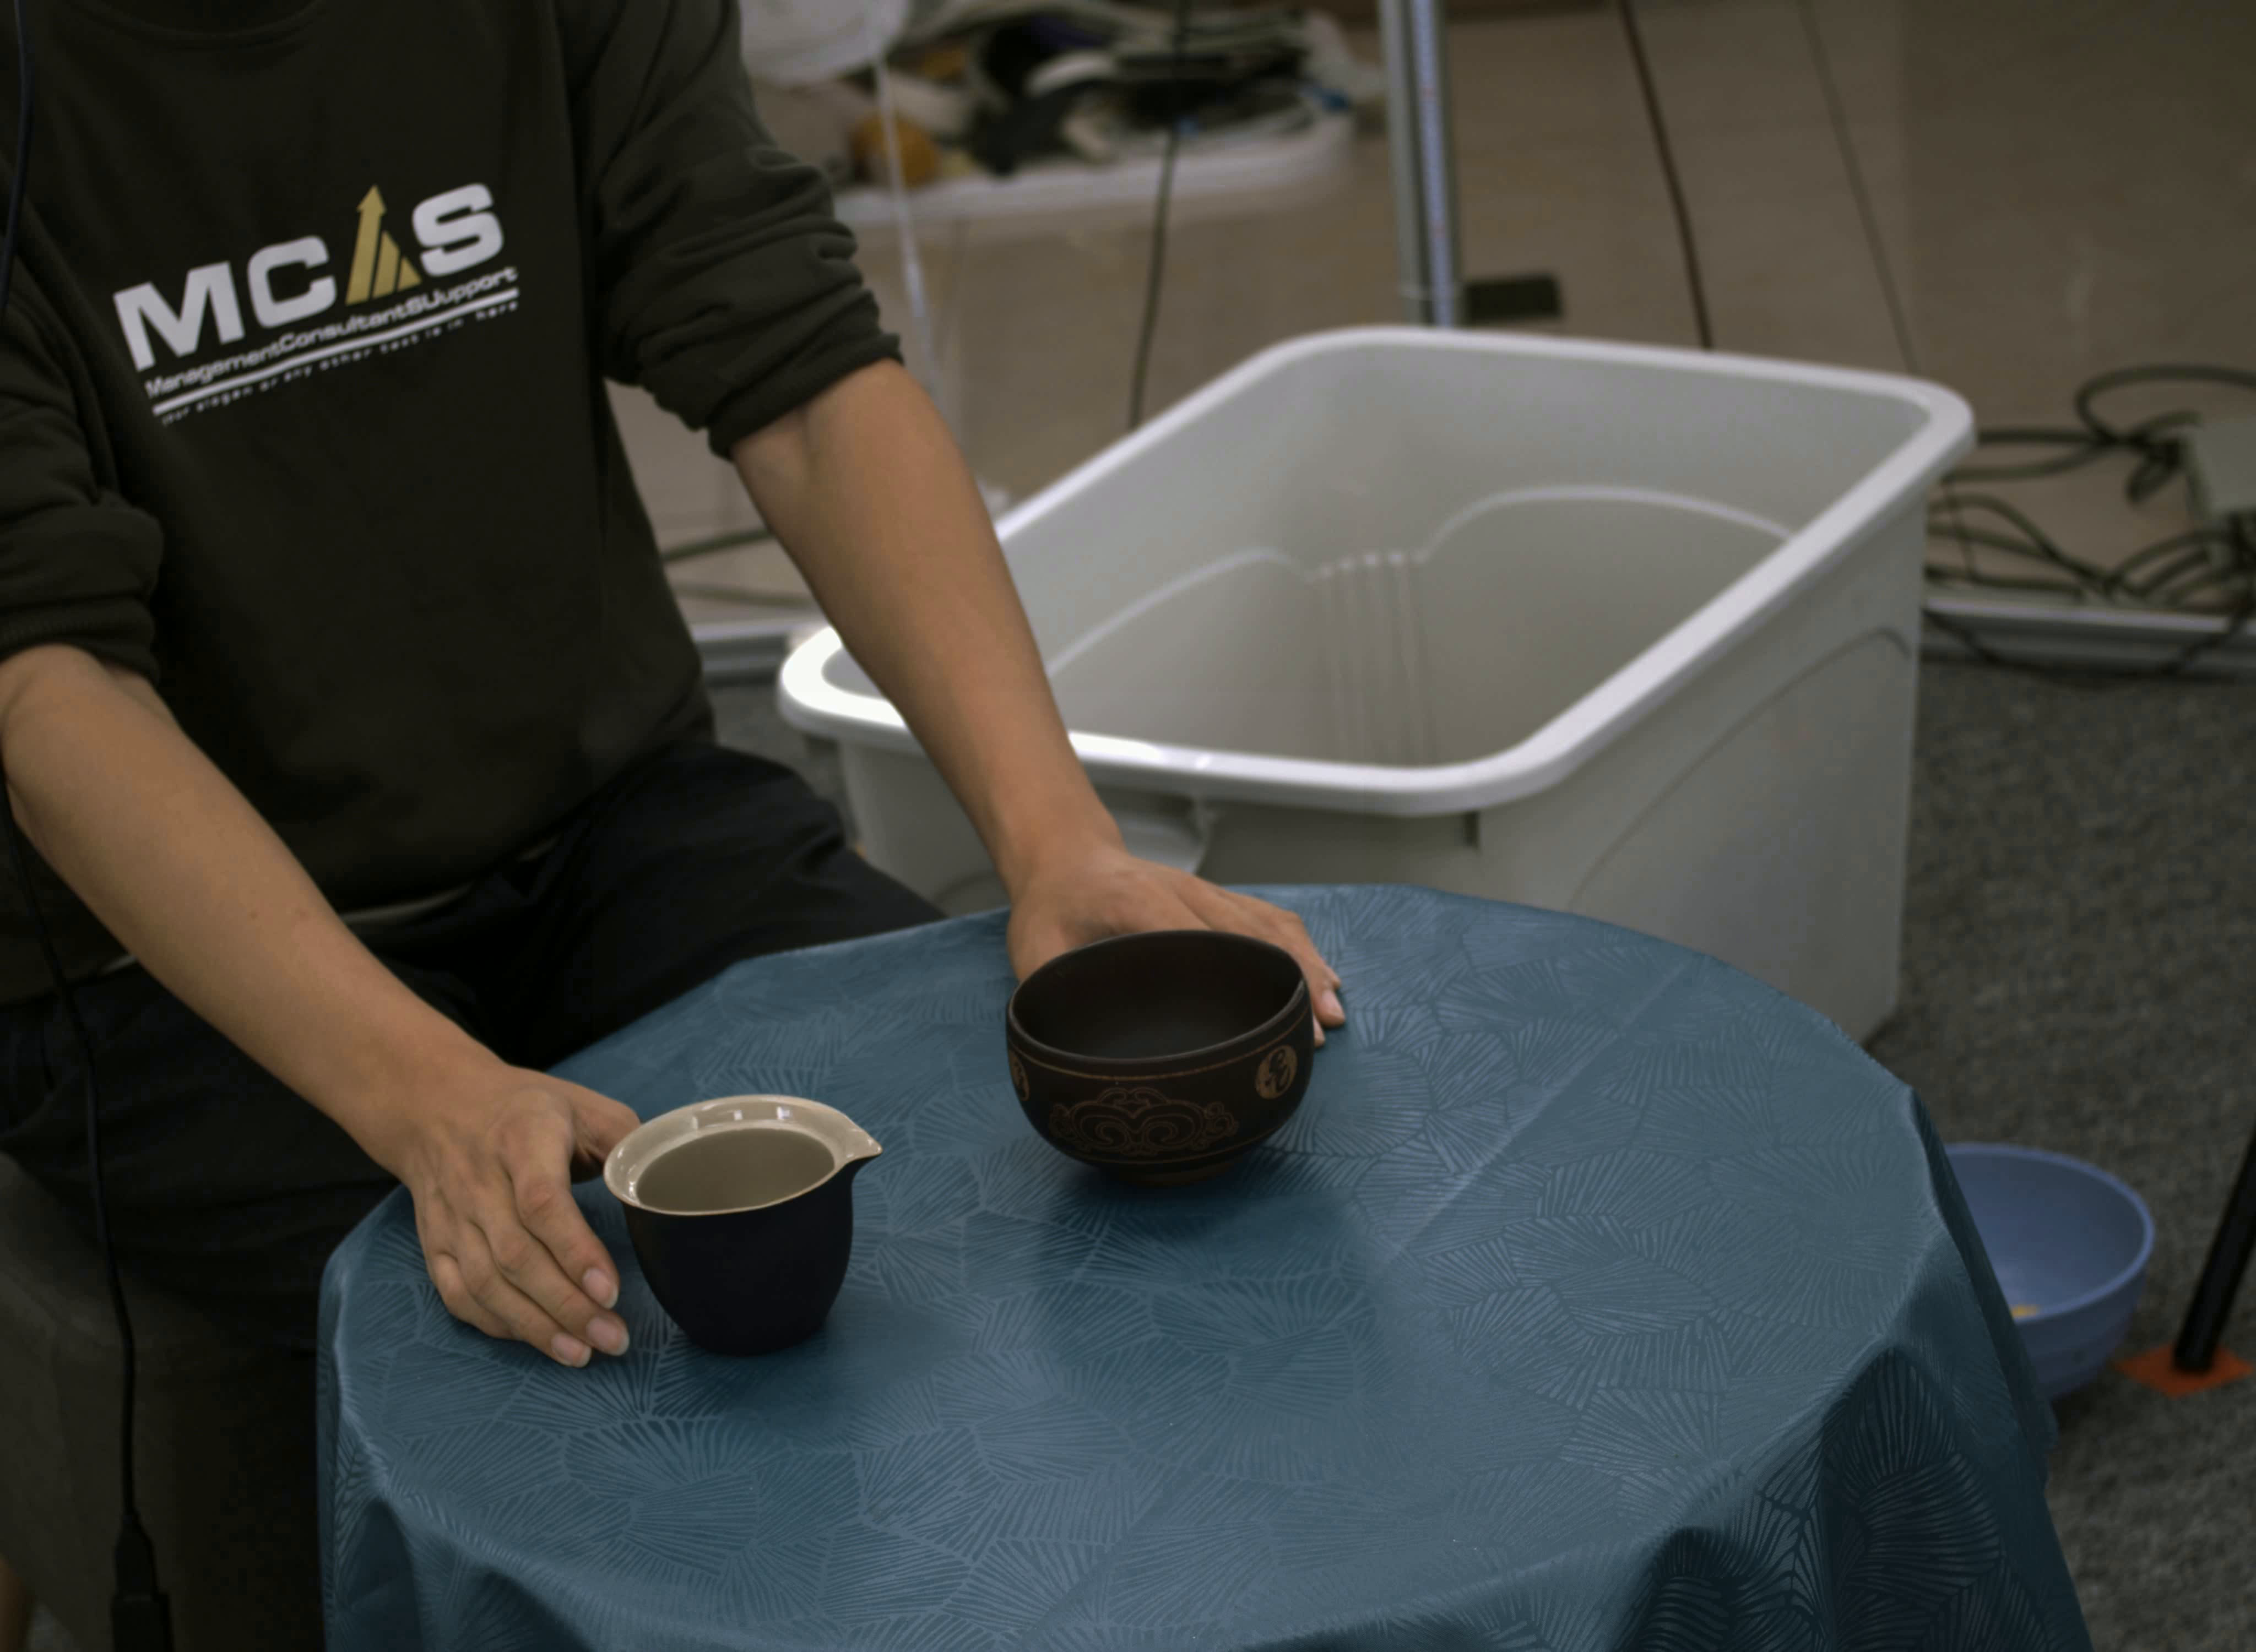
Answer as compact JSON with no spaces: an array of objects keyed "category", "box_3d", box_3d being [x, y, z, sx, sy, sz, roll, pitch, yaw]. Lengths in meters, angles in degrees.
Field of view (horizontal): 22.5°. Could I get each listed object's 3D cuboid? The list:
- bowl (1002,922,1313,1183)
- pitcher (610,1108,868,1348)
[{"category":"bowl","box_3d":[0.013,0.092,2.158,0.118,0.071,0.116,-5,27,3]},{"category":"pitcher","box_3d":[-0.137,0.147,2.071,0.096,0.072,0.082,-3,24,10]}]
